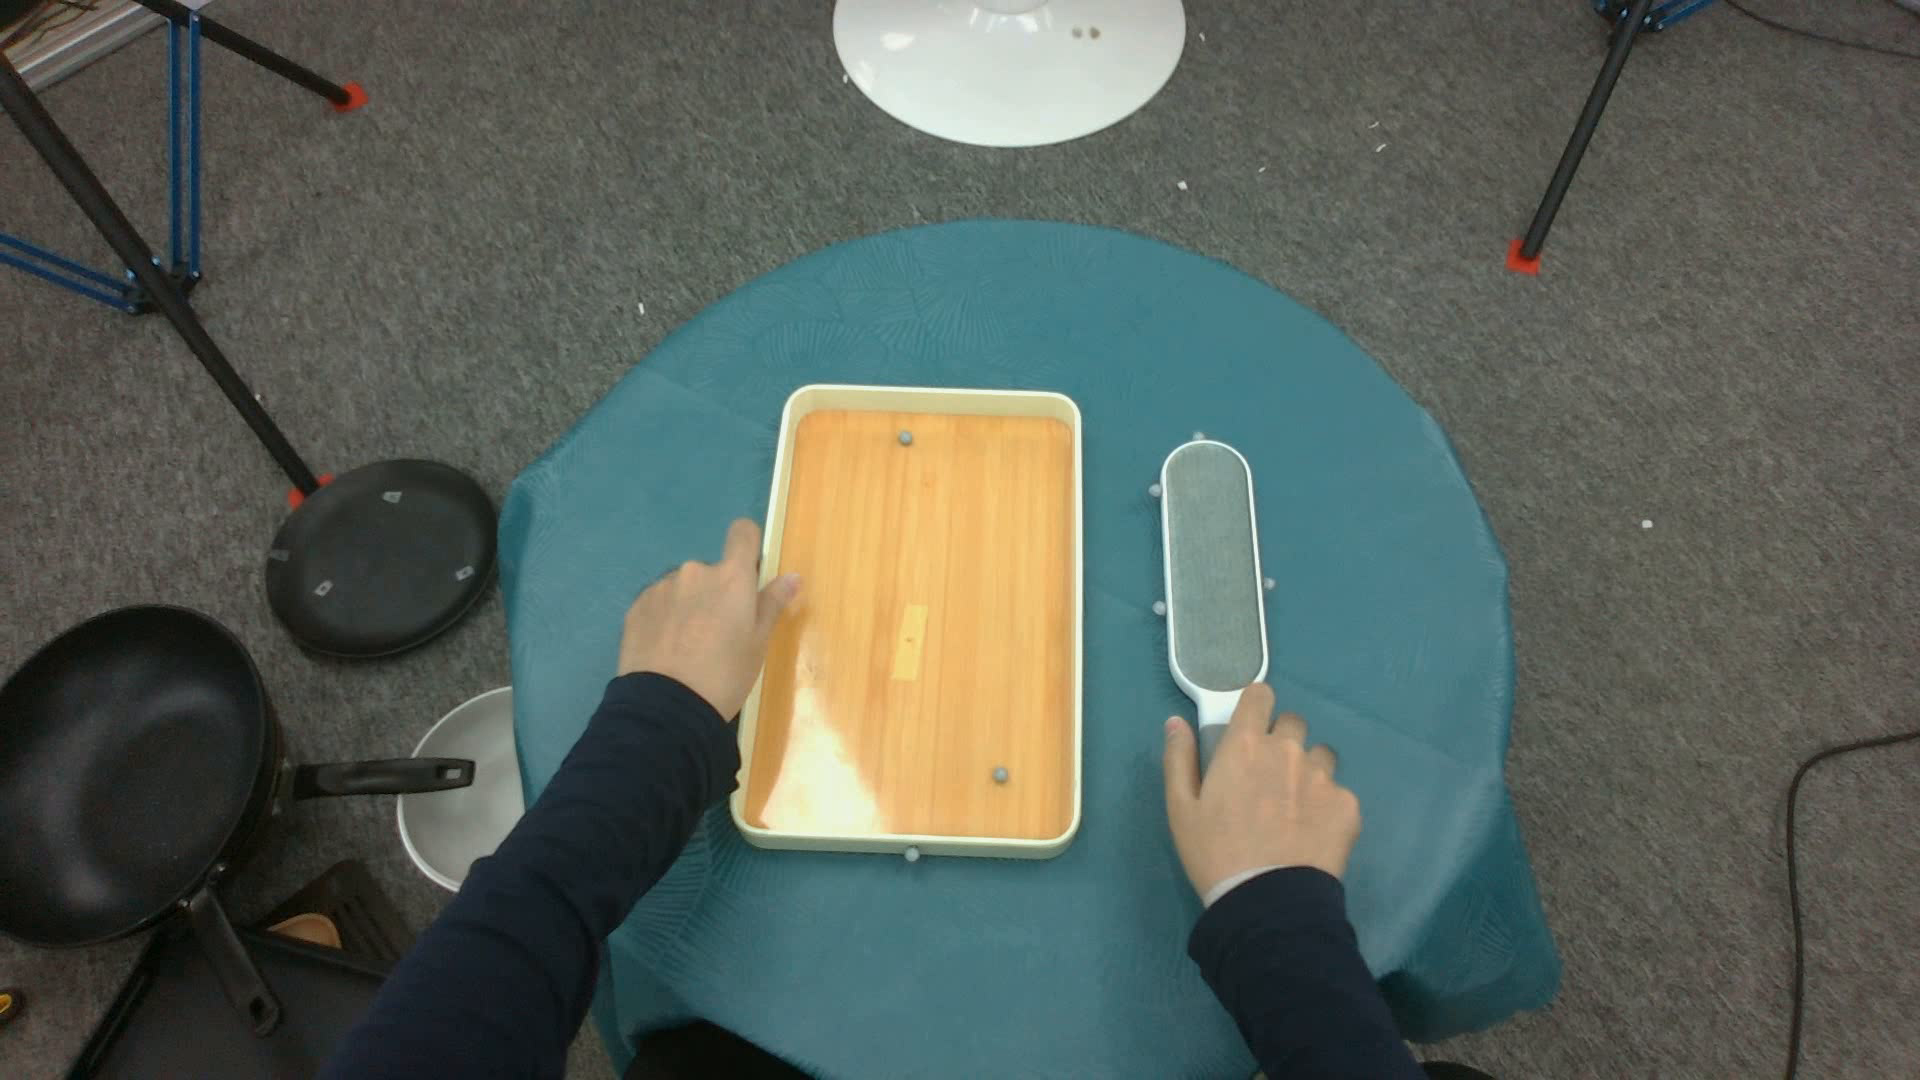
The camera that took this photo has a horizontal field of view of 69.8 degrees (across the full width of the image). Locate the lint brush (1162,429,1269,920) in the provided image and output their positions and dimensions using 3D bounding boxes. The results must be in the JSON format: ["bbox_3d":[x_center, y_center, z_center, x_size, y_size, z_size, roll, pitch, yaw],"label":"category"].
[{"bbox_3d":[0.148,0.064,0.794,0.060,0.021,0.310,5,59,-4],"label":"lint brush"}]

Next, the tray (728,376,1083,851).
[{"bbox_3d":[-0.024,0.032,0.814,0.191,0.027,0.301,2,59,2],"label":"tray"}]
